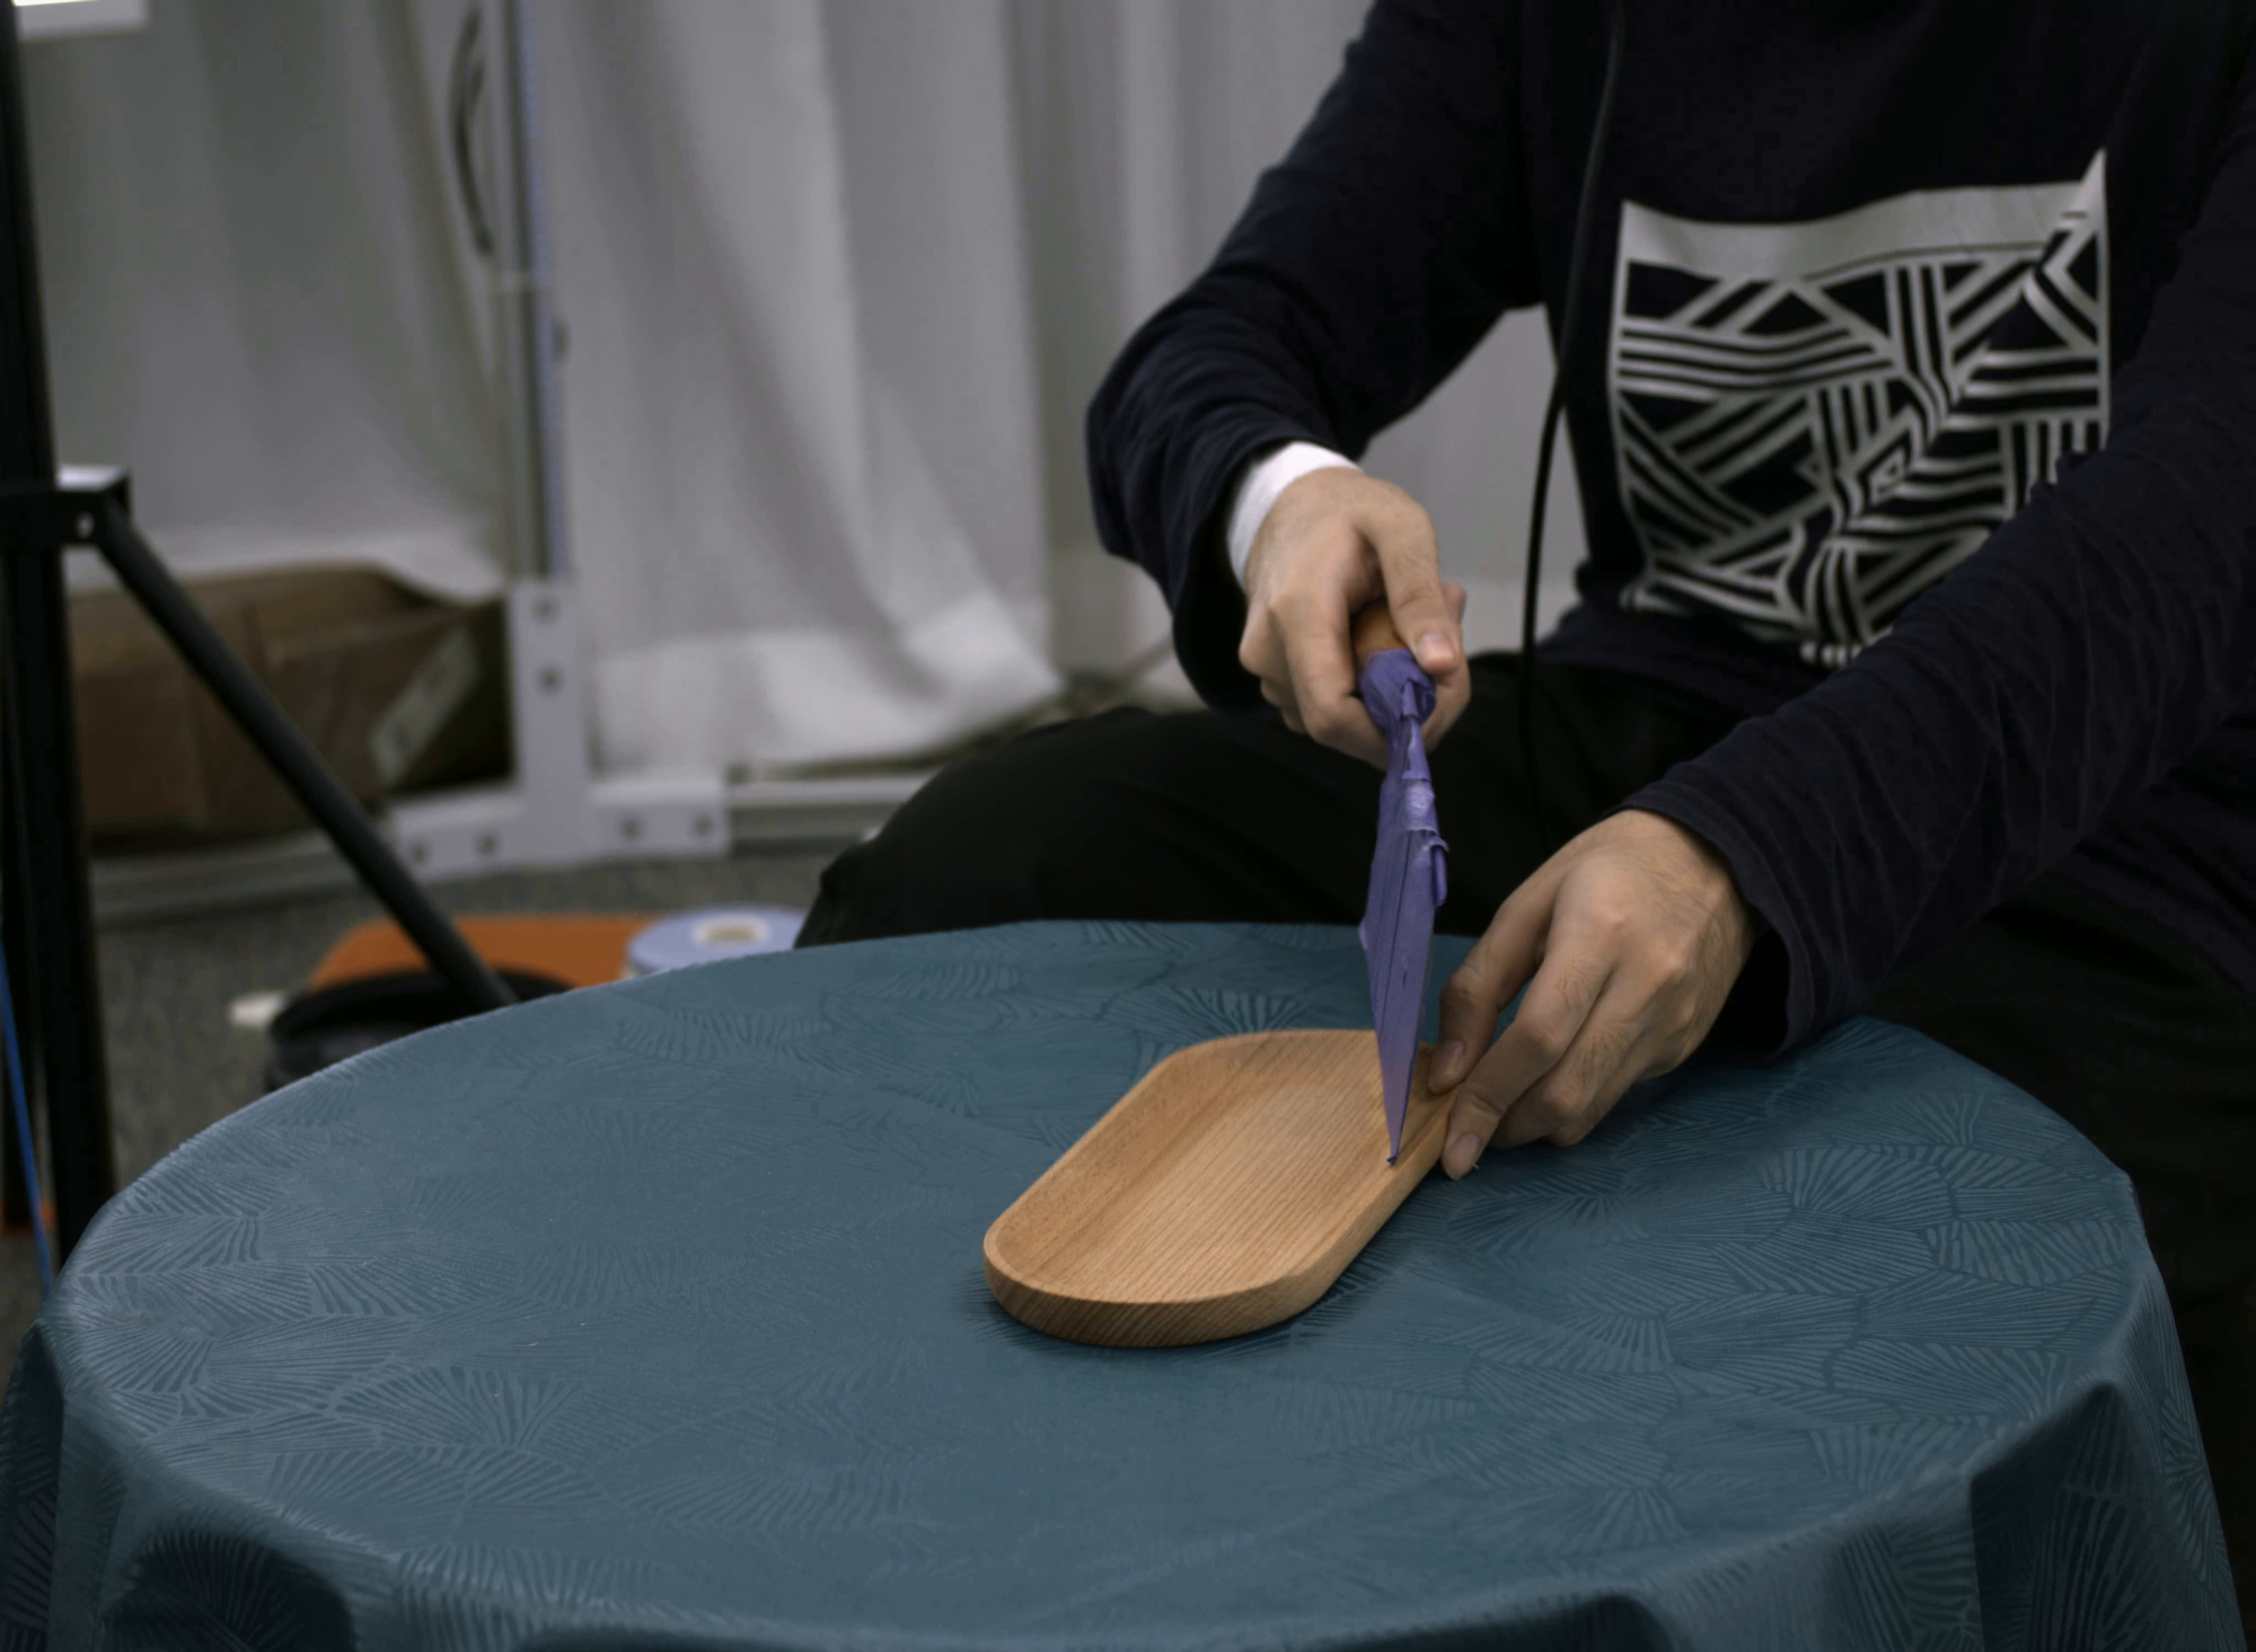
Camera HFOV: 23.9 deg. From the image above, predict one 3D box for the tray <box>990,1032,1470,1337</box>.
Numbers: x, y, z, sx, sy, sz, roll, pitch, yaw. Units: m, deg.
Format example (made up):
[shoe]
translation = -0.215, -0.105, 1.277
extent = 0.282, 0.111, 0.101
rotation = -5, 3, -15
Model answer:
[tray]
translation = 0.033, 0.102, 1.543
extent = 0.103, 0.020, 0.228
rotation = 3, 16, 19

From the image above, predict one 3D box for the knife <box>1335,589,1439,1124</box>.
[knife]
translation = 0.078, 0.006, 1.653
extent = 0.032, 0.104, 0.316
rotation = 9, 17, 0
